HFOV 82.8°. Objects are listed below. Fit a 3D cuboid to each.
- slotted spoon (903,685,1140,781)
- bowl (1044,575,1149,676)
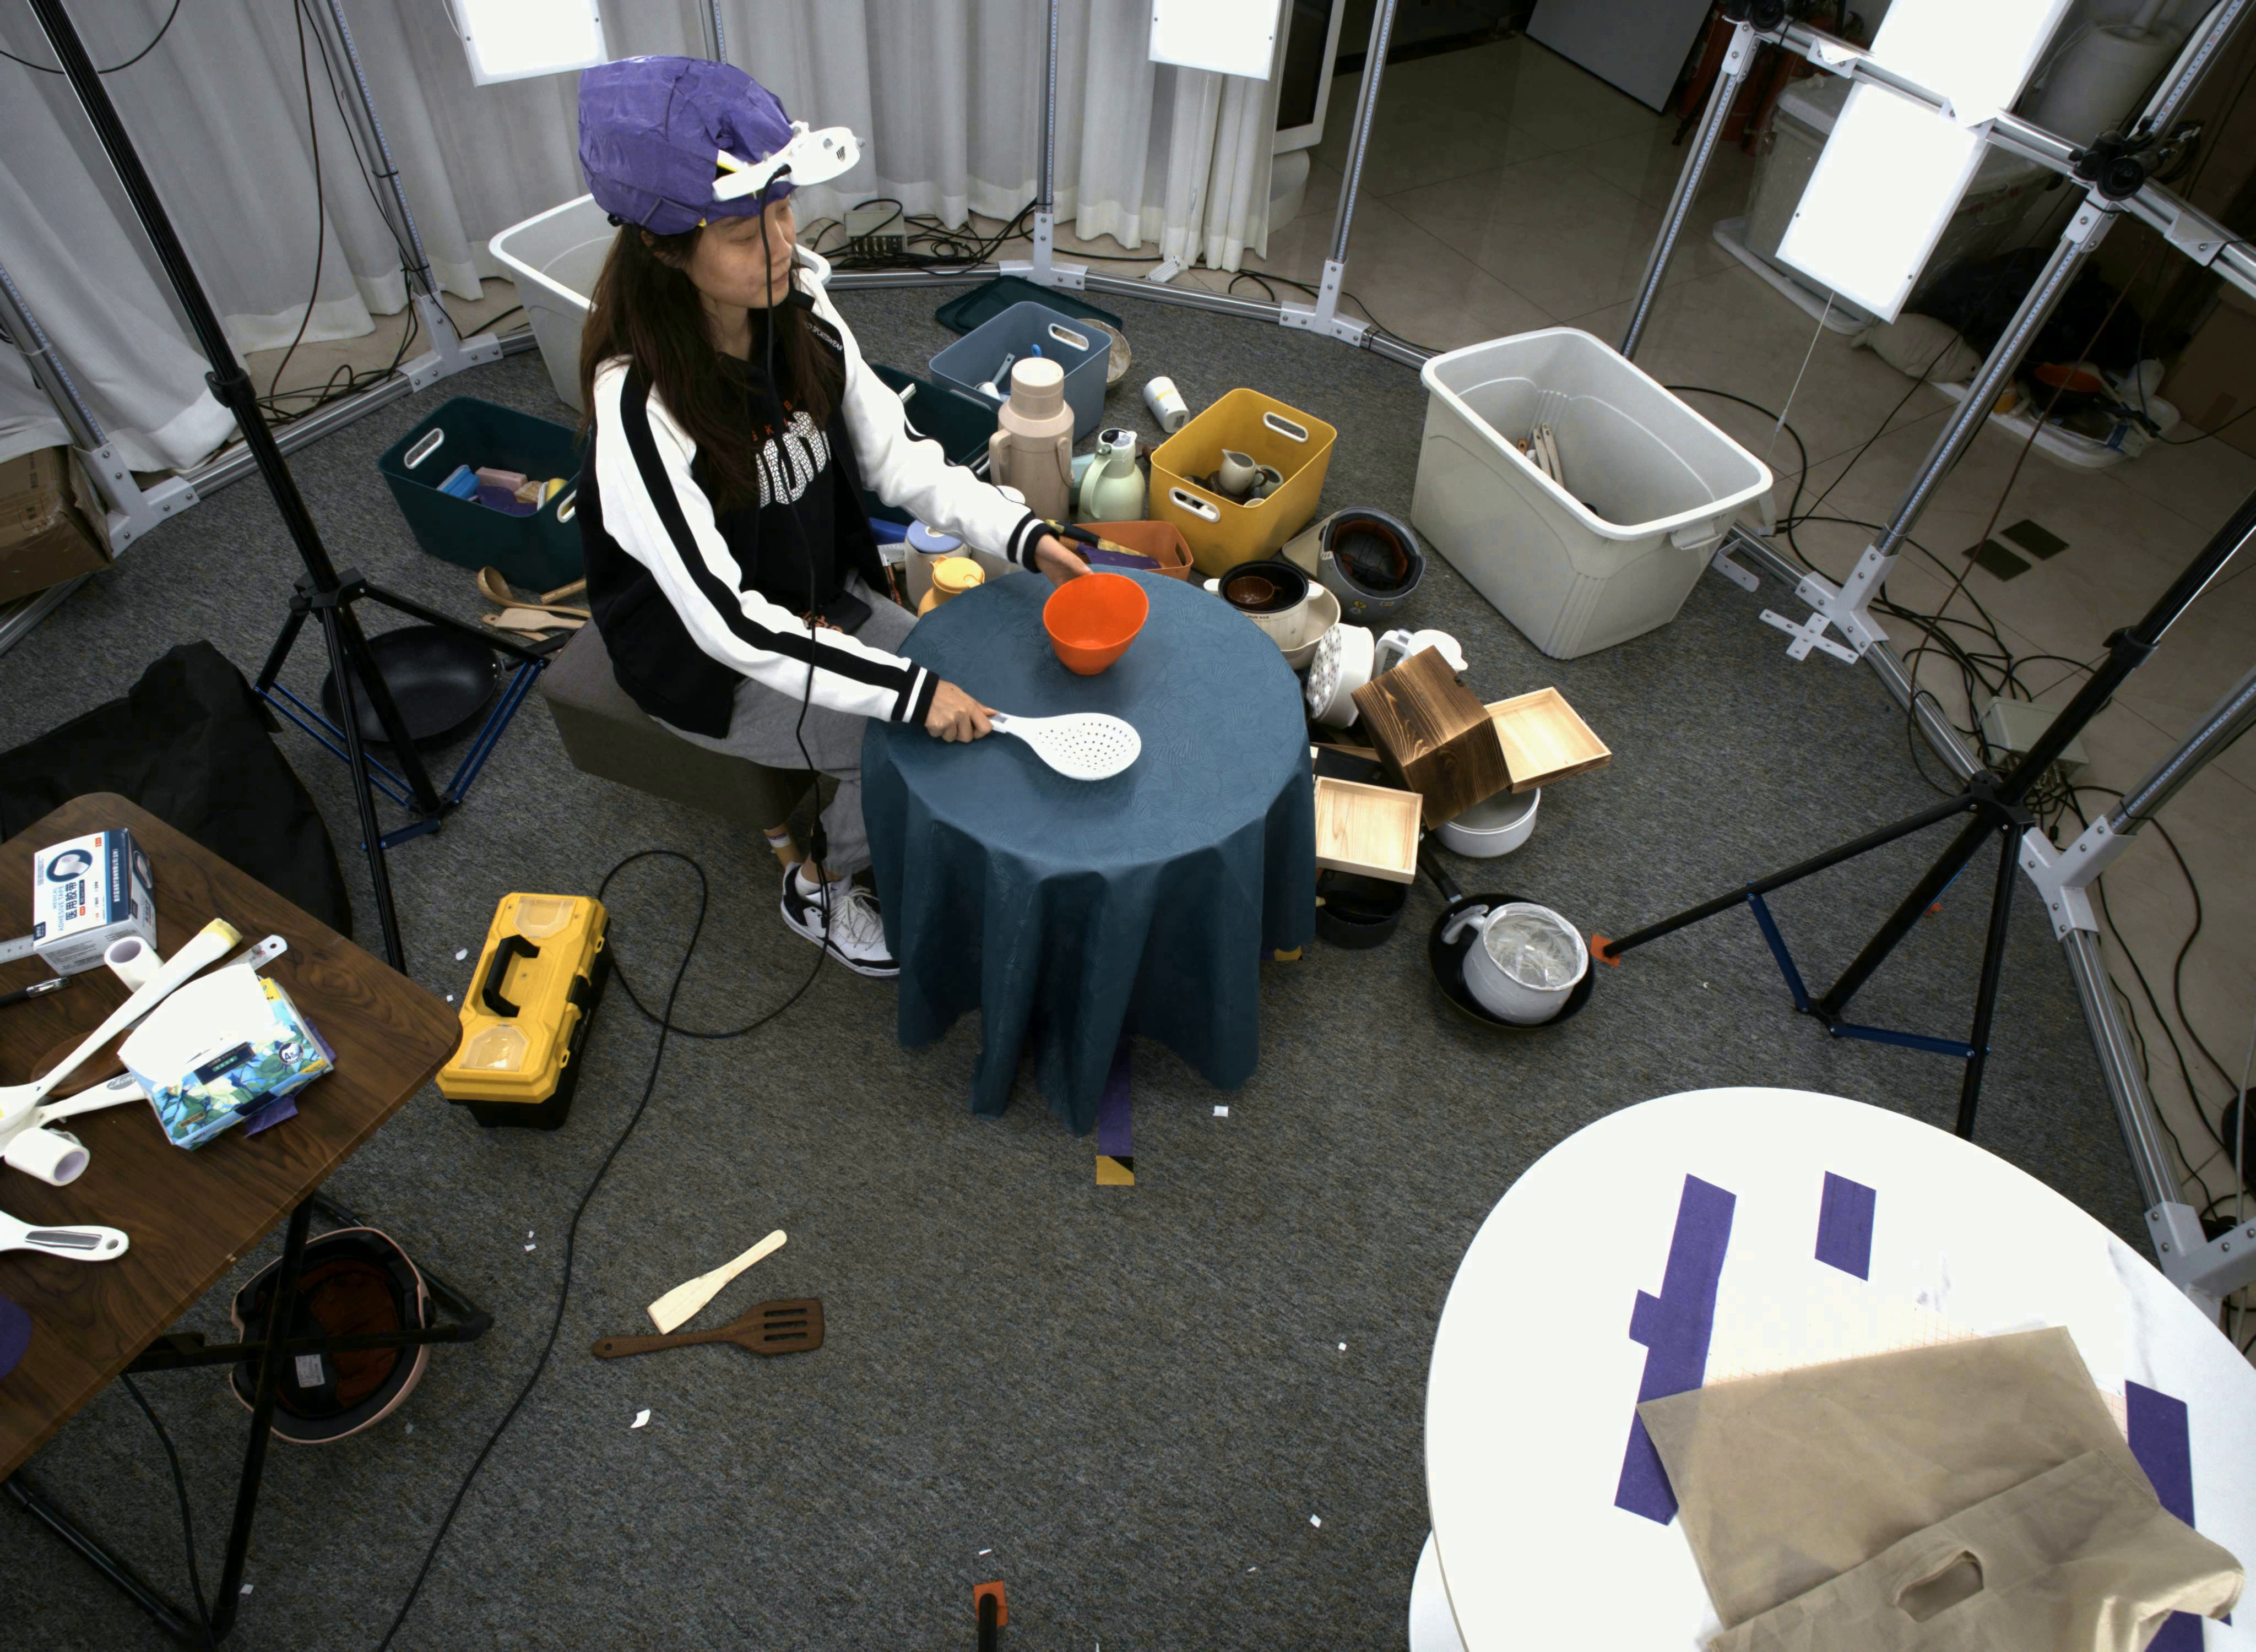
[{"bbox_3d":[-0.150,-0.135,1.747,0.352,0.044,0.138,21,43,15],"label":"slotted spoon"},{"bbox_3d":[-0.046,-0.277,1.843,0.148,0.102,0.152,2,51,-2],"label":"bowl"}]
